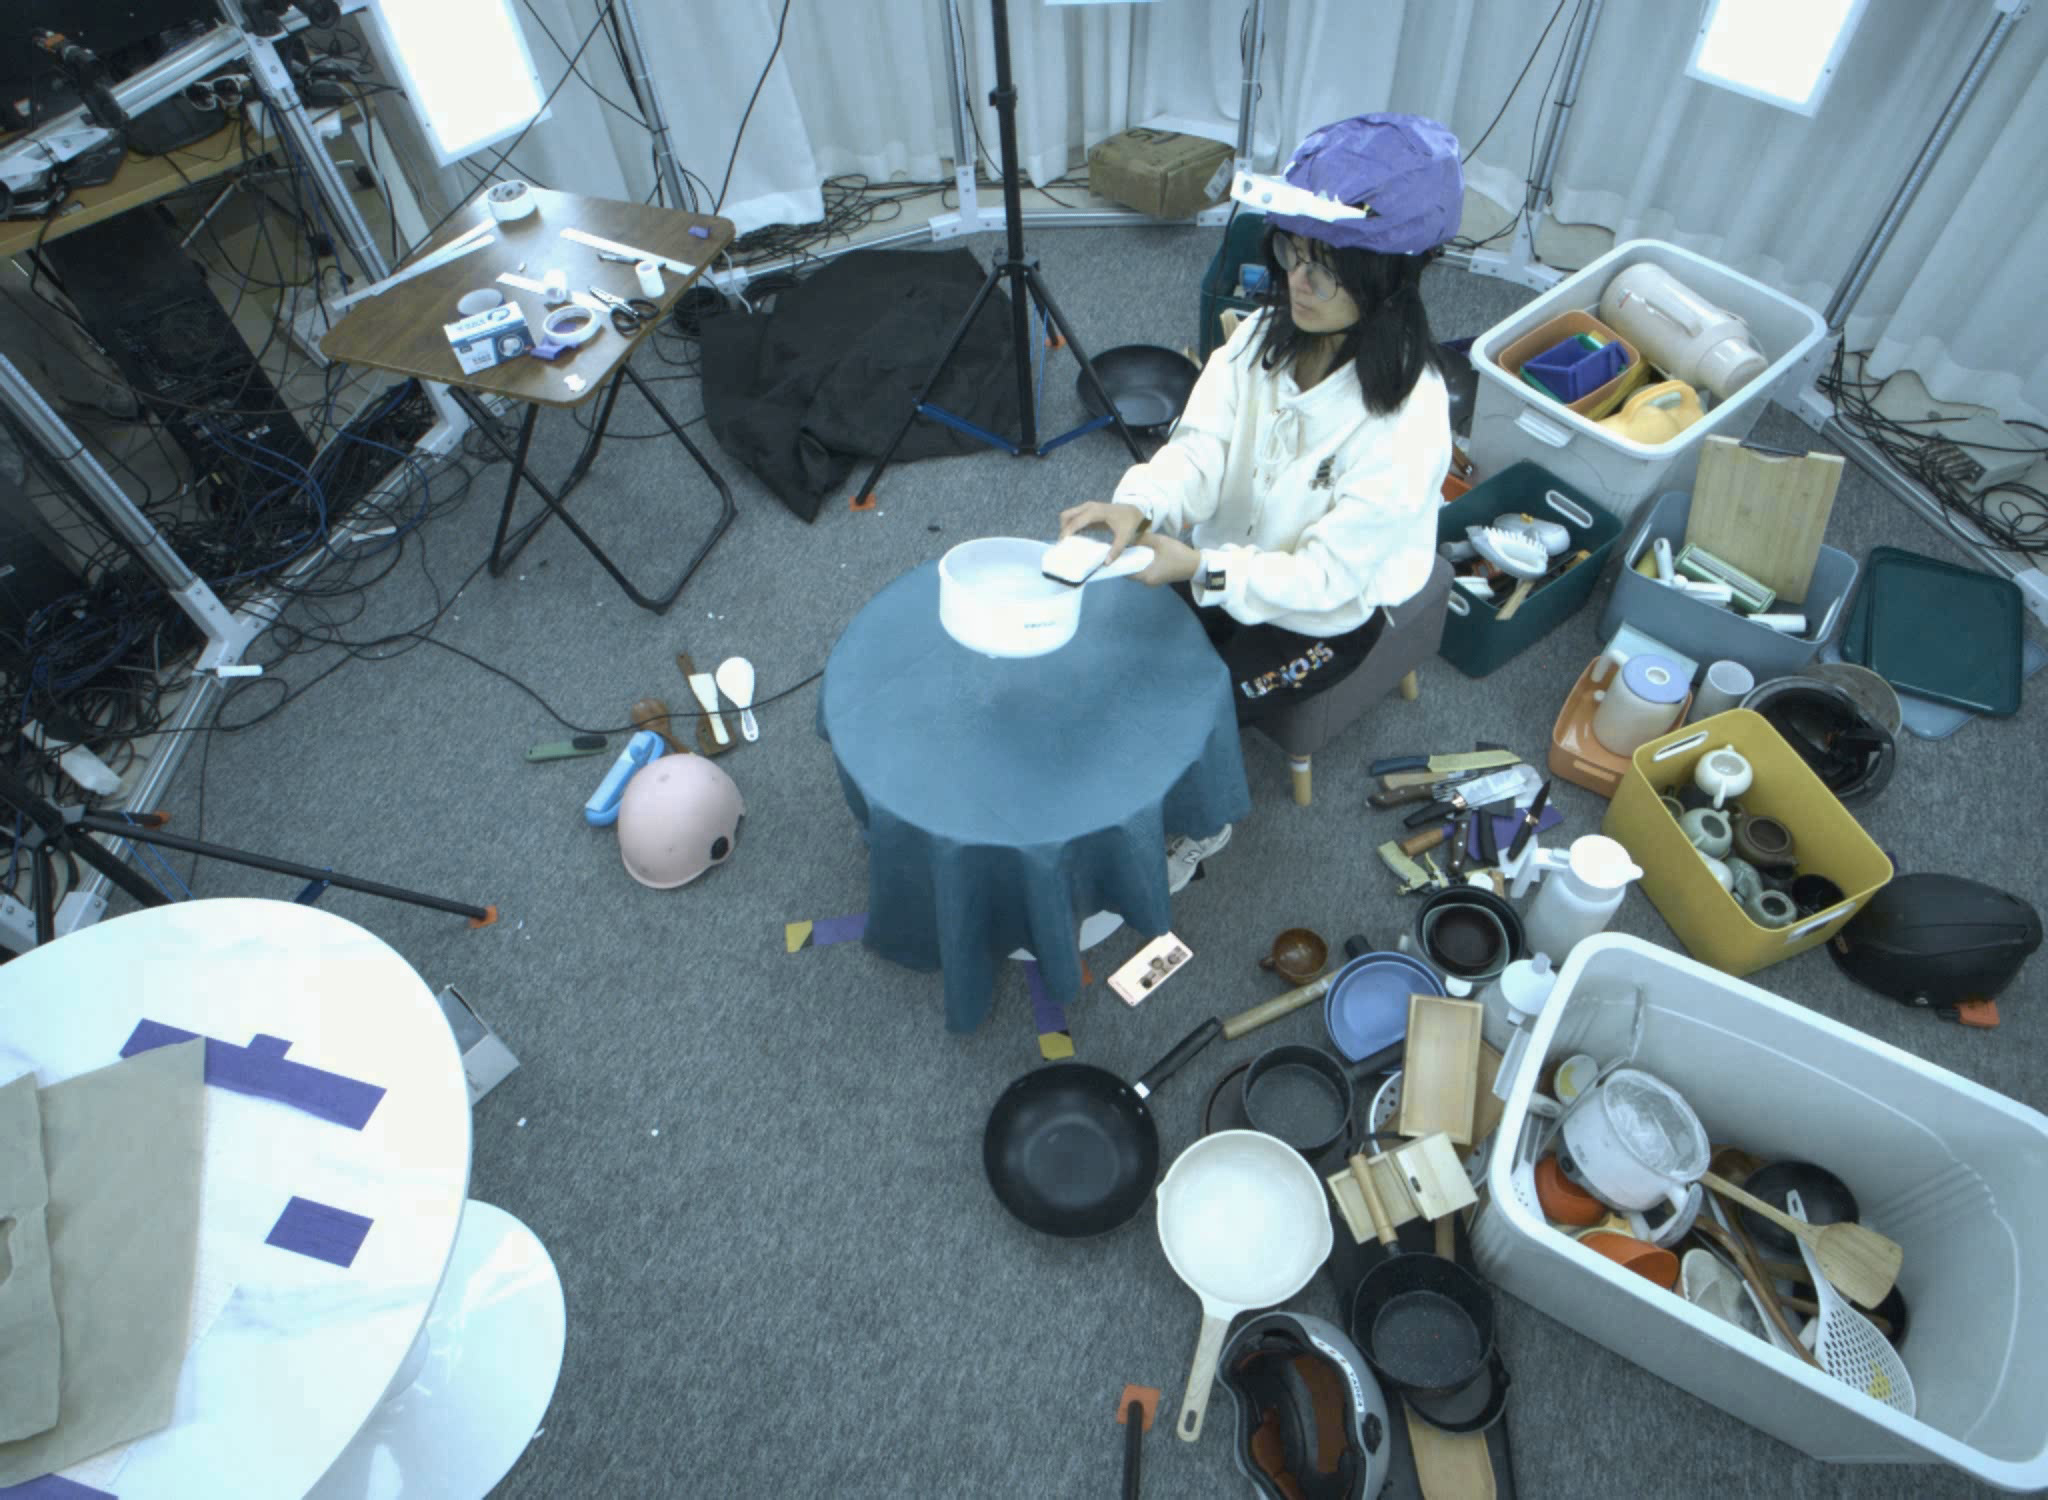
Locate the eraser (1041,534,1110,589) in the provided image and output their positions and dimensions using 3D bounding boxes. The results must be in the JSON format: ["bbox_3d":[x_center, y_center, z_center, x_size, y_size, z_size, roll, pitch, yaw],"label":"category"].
[{"bbox_3d":[0.072,-0.260,1.671,0.063,0.034,0.132,23,34,13],"label":"eraser"}]

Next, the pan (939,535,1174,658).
[{"bbox_3d":[0.048,-0.223,1.732,0.360,0.102,0.197,-12,40,-28],"label":"pan"}]
